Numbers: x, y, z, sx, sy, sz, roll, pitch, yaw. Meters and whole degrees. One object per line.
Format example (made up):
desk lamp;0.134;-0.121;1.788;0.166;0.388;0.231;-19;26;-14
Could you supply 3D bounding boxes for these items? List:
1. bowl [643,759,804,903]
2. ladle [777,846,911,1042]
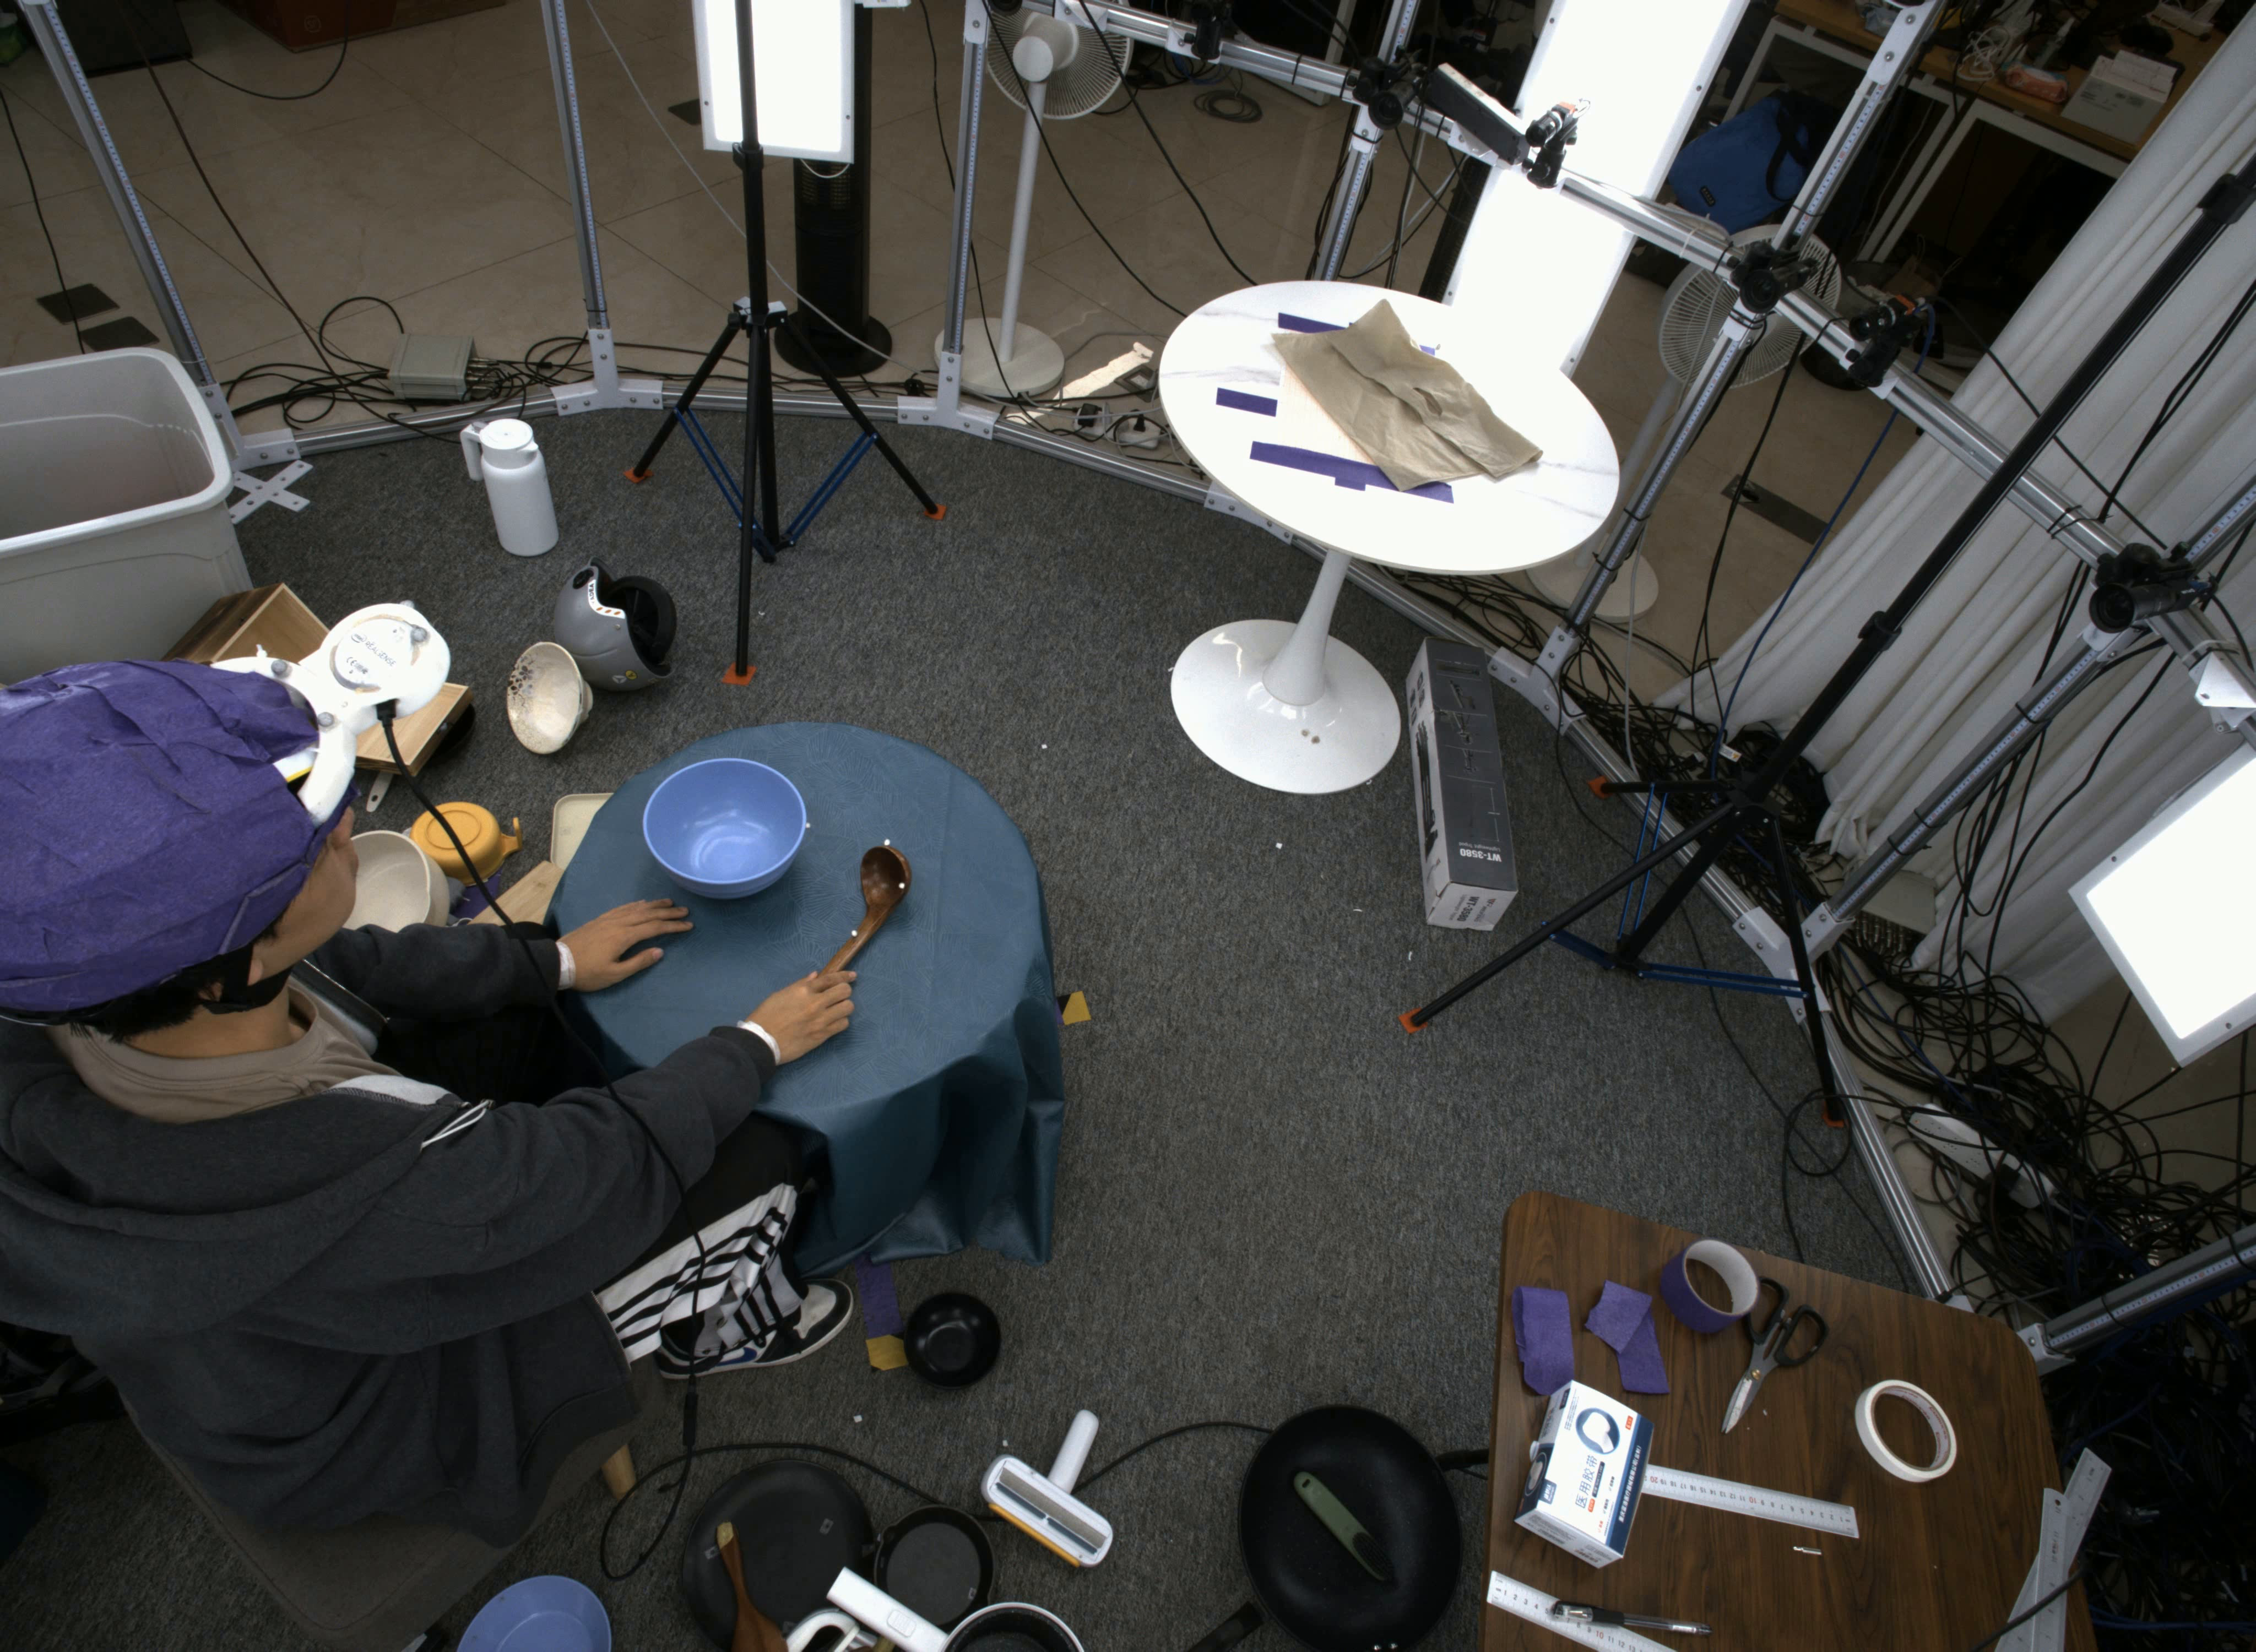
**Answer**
bowl;-0.507;0.021;1.631;0.196;0.097;0.193;8;53;-8
ladle;-0.357;0.136;1.597;0.079;0.079;0.273;2;43;36
